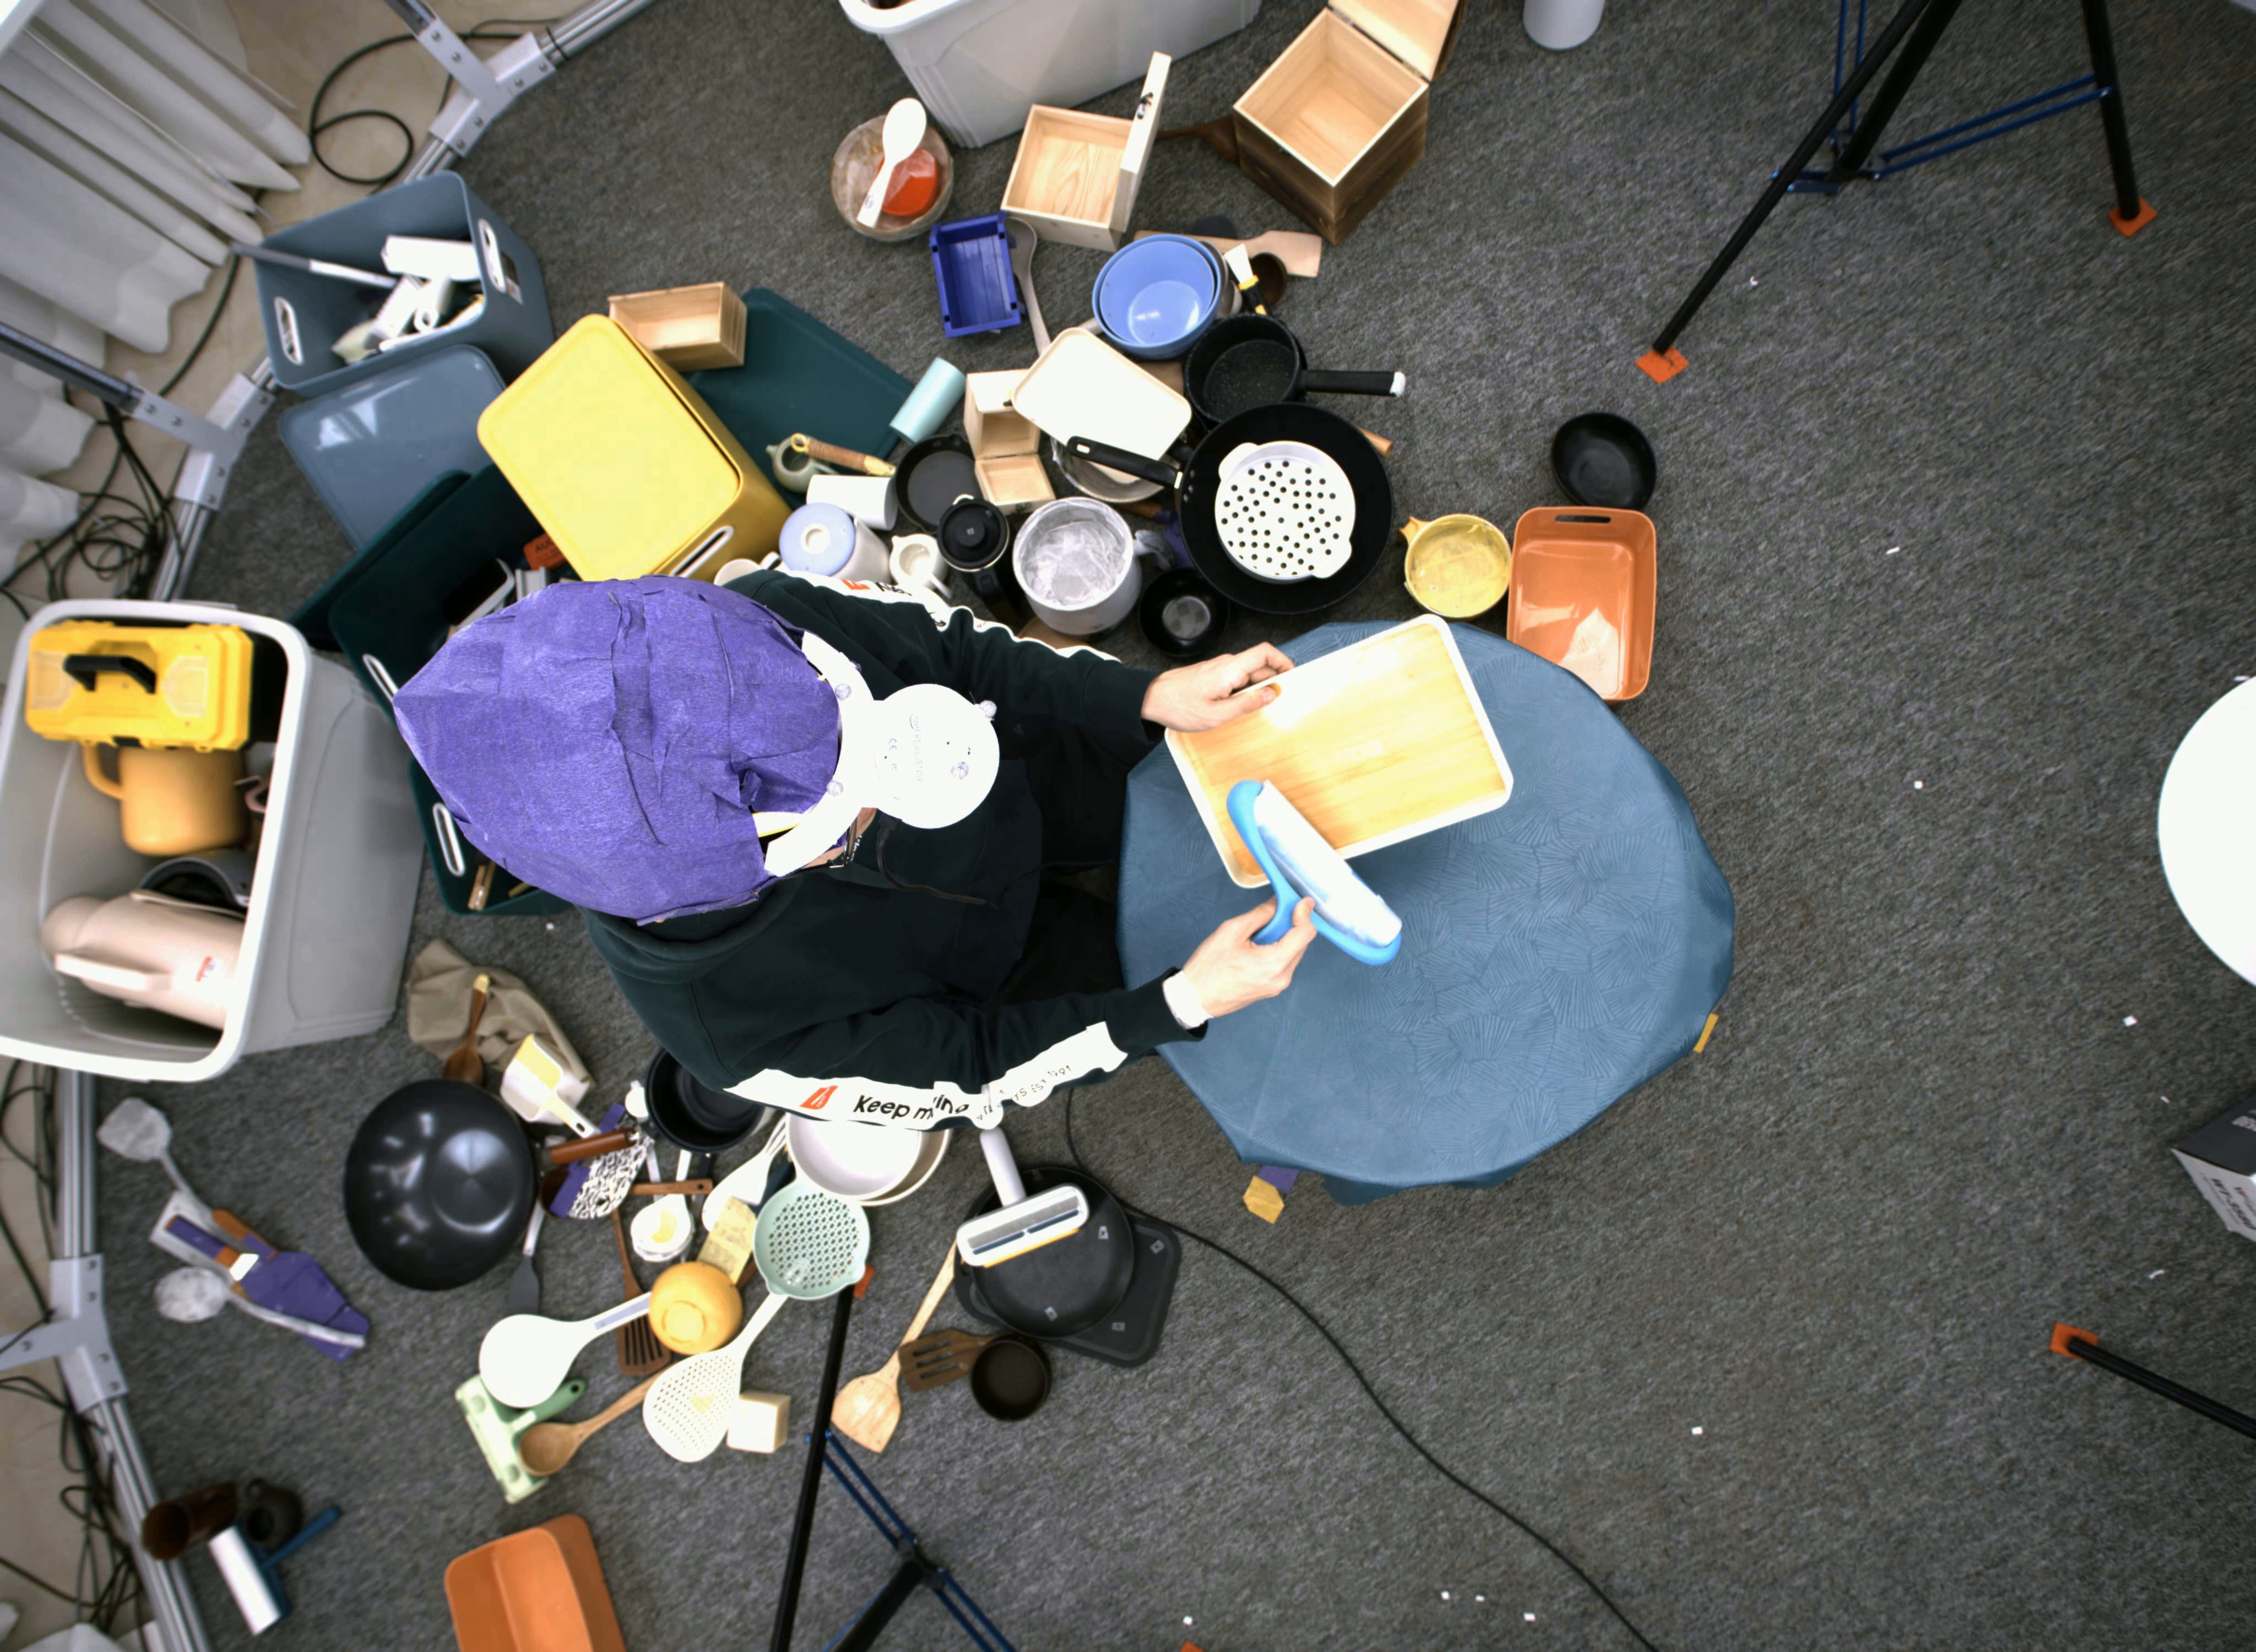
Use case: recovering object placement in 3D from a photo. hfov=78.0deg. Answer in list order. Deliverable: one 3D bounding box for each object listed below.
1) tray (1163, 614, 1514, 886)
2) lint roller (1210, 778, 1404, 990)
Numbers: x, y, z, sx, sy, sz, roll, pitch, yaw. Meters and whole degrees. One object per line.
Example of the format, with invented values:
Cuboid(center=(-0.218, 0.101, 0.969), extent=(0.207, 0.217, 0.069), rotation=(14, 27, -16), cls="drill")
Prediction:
Cuboid(center=(0.196, -0.067, 1.313), extent=(0.304, 0.027, 0.193), rotation=(-19, 105, 31), cls="tray")
Cuboid(center=(0.148, 0.083, 1.307), extent=(0.230, 0.068, 0.177), rotation=(42, 71, -13), cls="lint roller")
